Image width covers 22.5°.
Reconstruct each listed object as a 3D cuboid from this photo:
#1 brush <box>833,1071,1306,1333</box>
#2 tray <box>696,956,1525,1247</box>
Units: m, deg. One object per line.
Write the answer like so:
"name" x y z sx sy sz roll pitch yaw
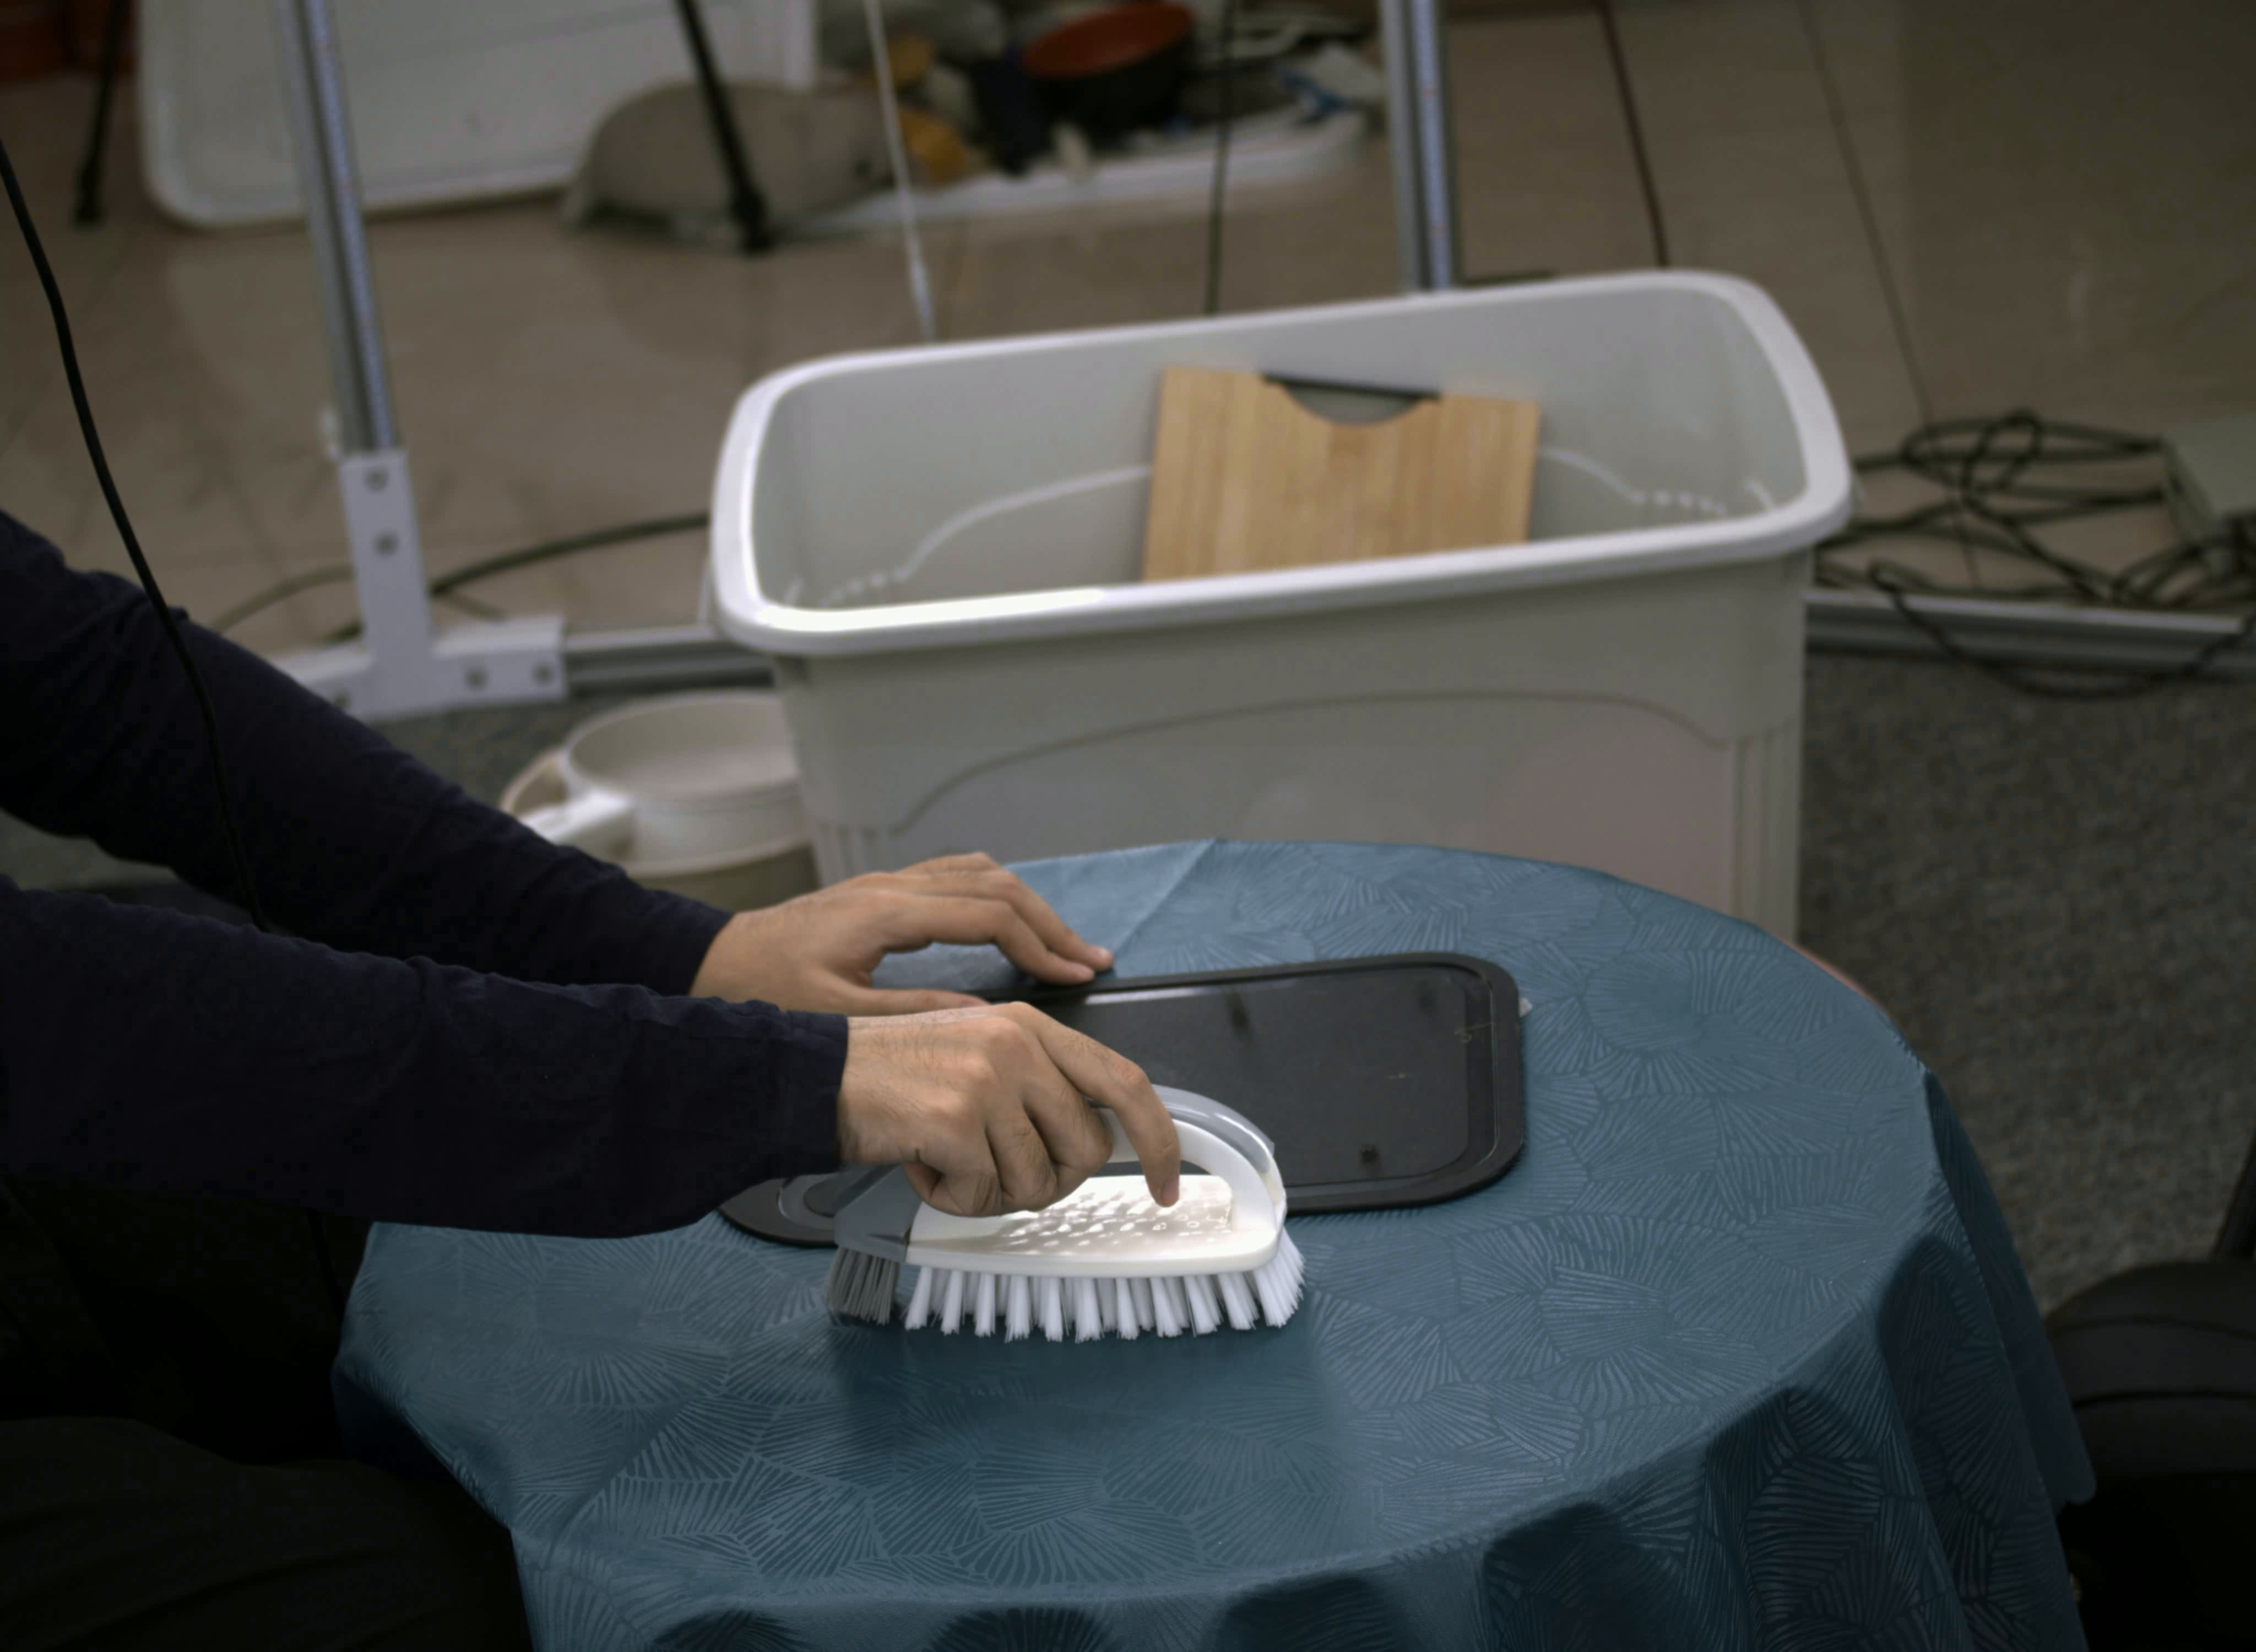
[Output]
"brush" -0.027 0.135 2.052 0.175 0.095 0.060 -4 24 11
"tray" -0.008 0.105 2.213 0.325 0.010 0.208 -4 25 6
